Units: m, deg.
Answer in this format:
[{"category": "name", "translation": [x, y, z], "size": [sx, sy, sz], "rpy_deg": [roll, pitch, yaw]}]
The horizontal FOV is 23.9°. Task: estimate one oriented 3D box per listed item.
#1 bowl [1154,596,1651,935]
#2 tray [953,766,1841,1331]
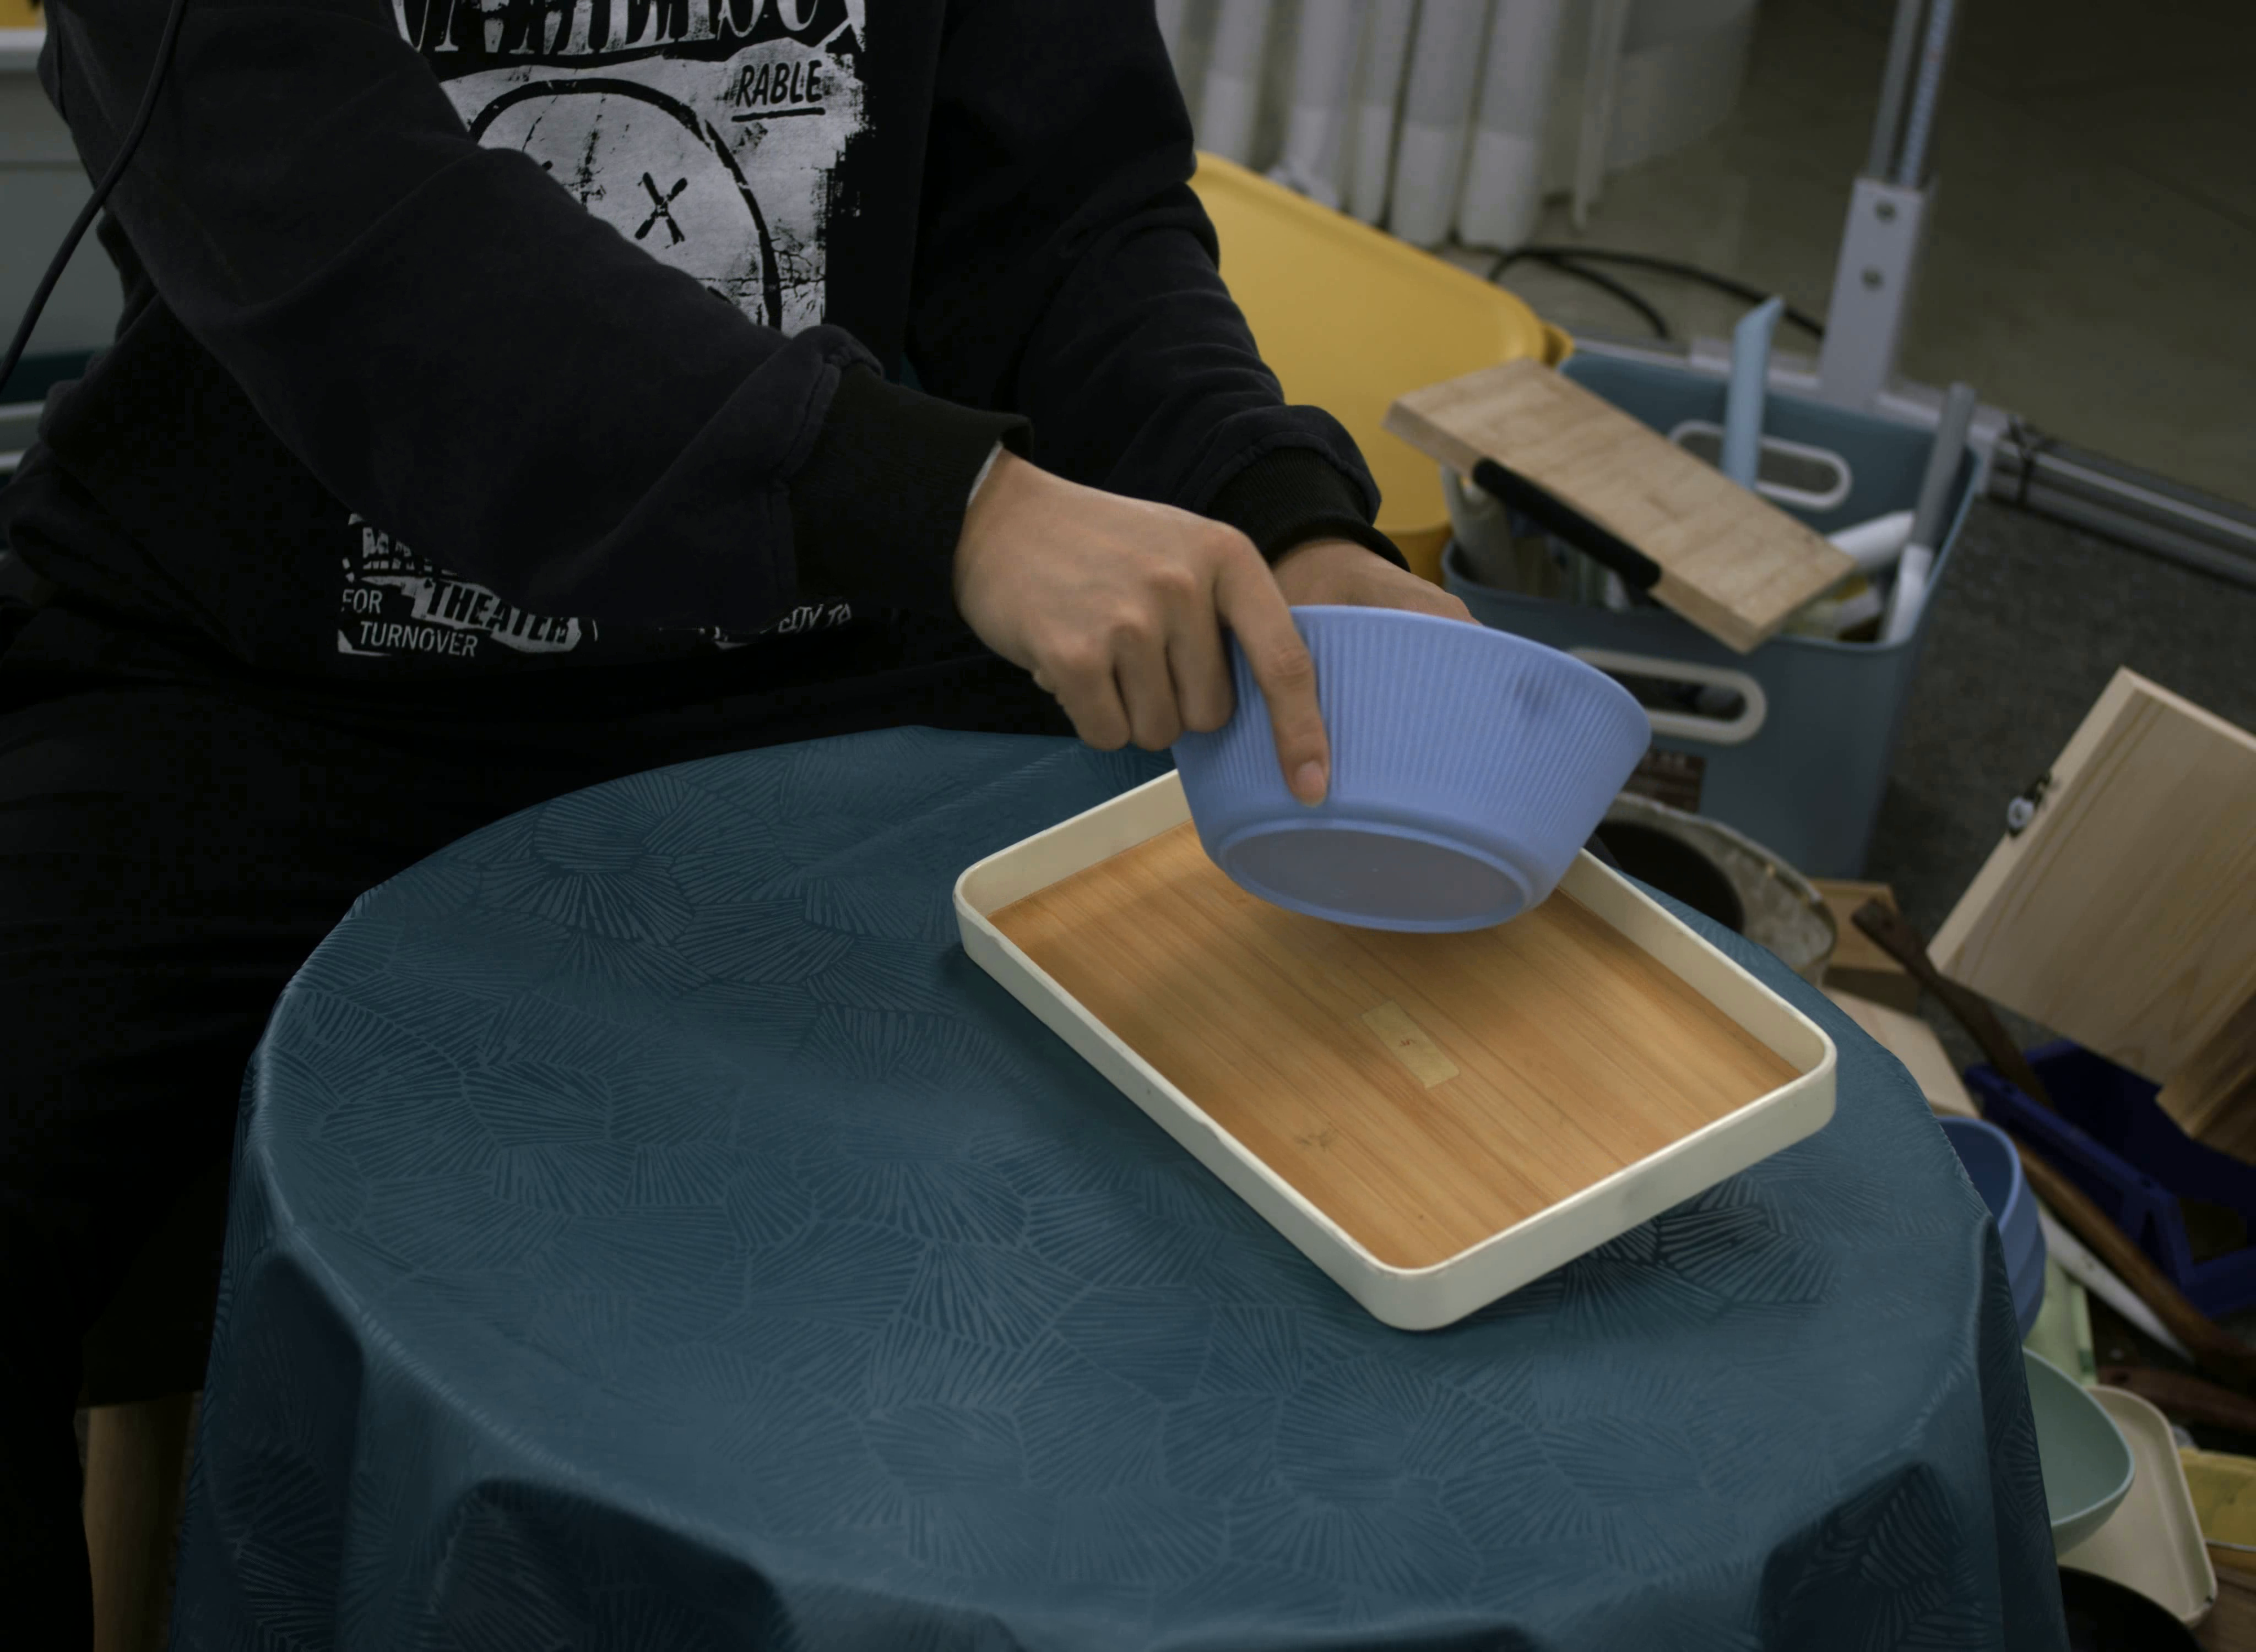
[{"category": "bowl", "translation": [0.090, -0.014, 1.840], "size": [0.176, 0.175, 0.071], "rpy_deg": [9, 70, 3]}, {"category": "tray", "translation": [0.090, 0.060, 1.868], "size": [0.191, 0.027, 0.303], "rpy_deg": [-25, 38, -22]}]
